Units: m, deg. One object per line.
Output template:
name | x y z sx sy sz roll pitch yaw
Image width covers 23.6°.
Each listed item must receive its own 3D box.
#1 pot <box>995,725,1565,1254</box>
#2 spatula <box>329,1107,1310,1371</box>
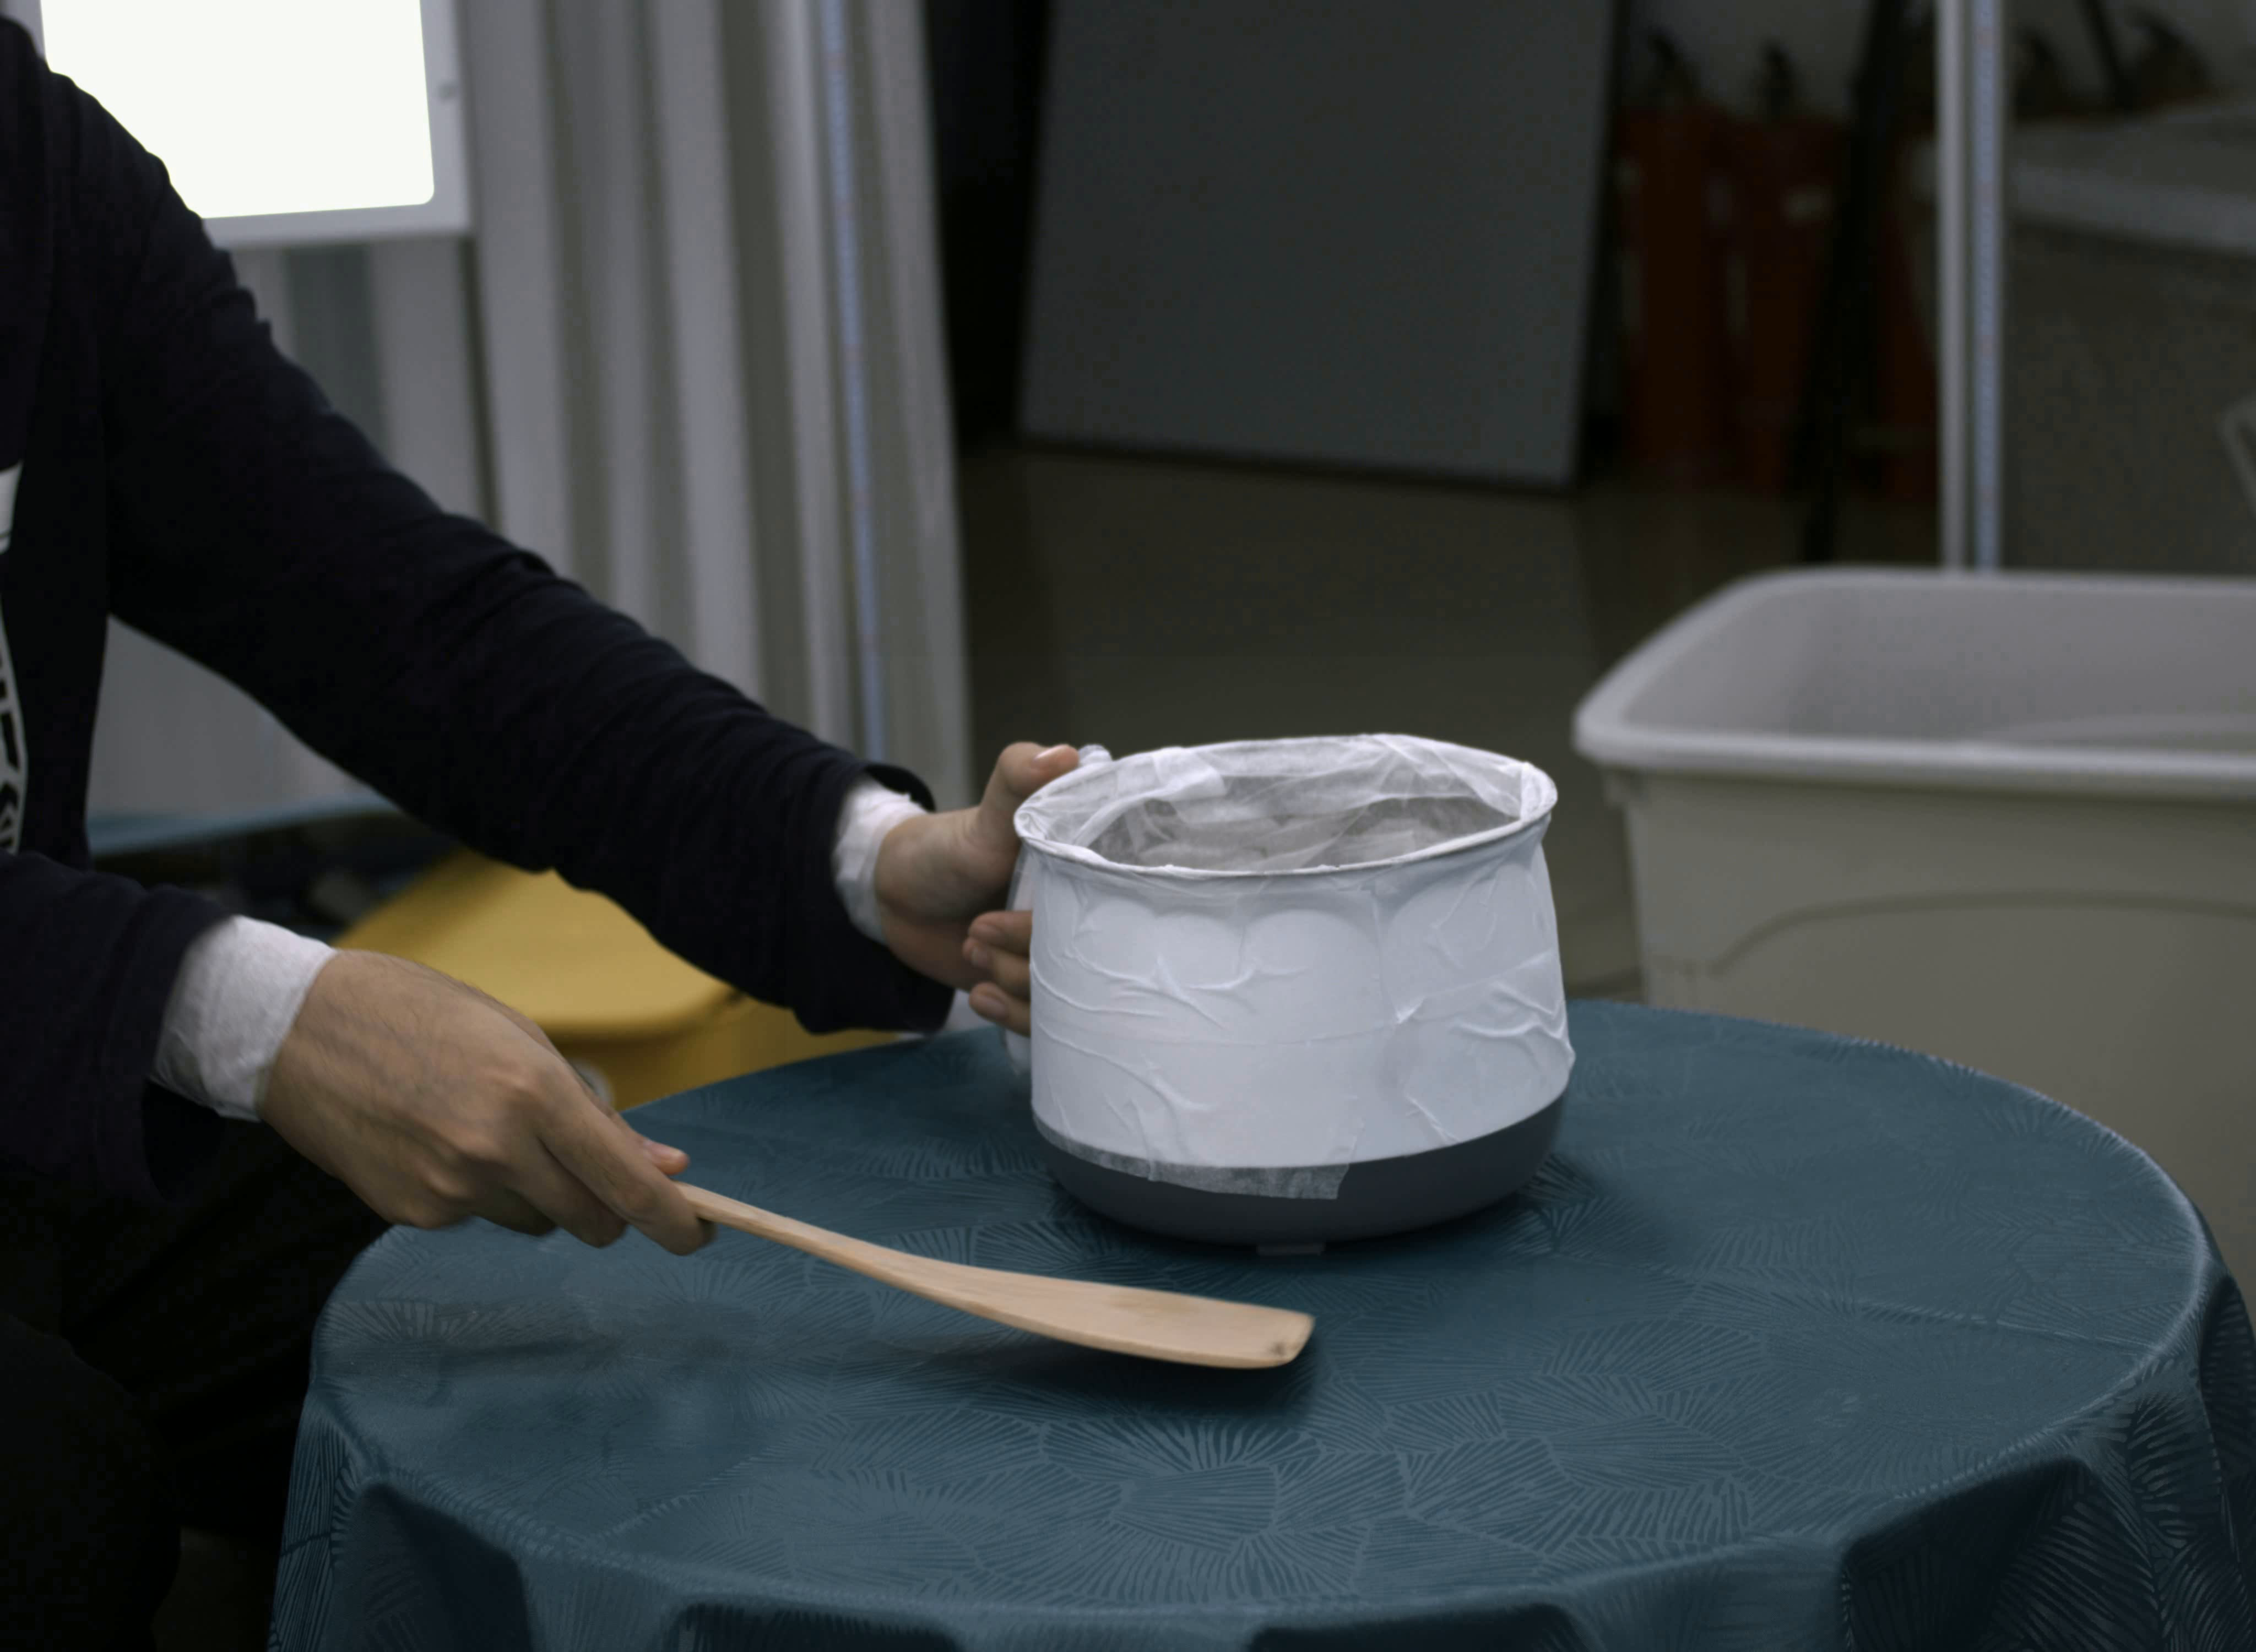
pot | 0.036 0.046 1.767 0.175 0.138 0.236 -13 18 -38
spatula | -0.095 0.123 1.638 0.327 0.017 0.079 14 8 18
